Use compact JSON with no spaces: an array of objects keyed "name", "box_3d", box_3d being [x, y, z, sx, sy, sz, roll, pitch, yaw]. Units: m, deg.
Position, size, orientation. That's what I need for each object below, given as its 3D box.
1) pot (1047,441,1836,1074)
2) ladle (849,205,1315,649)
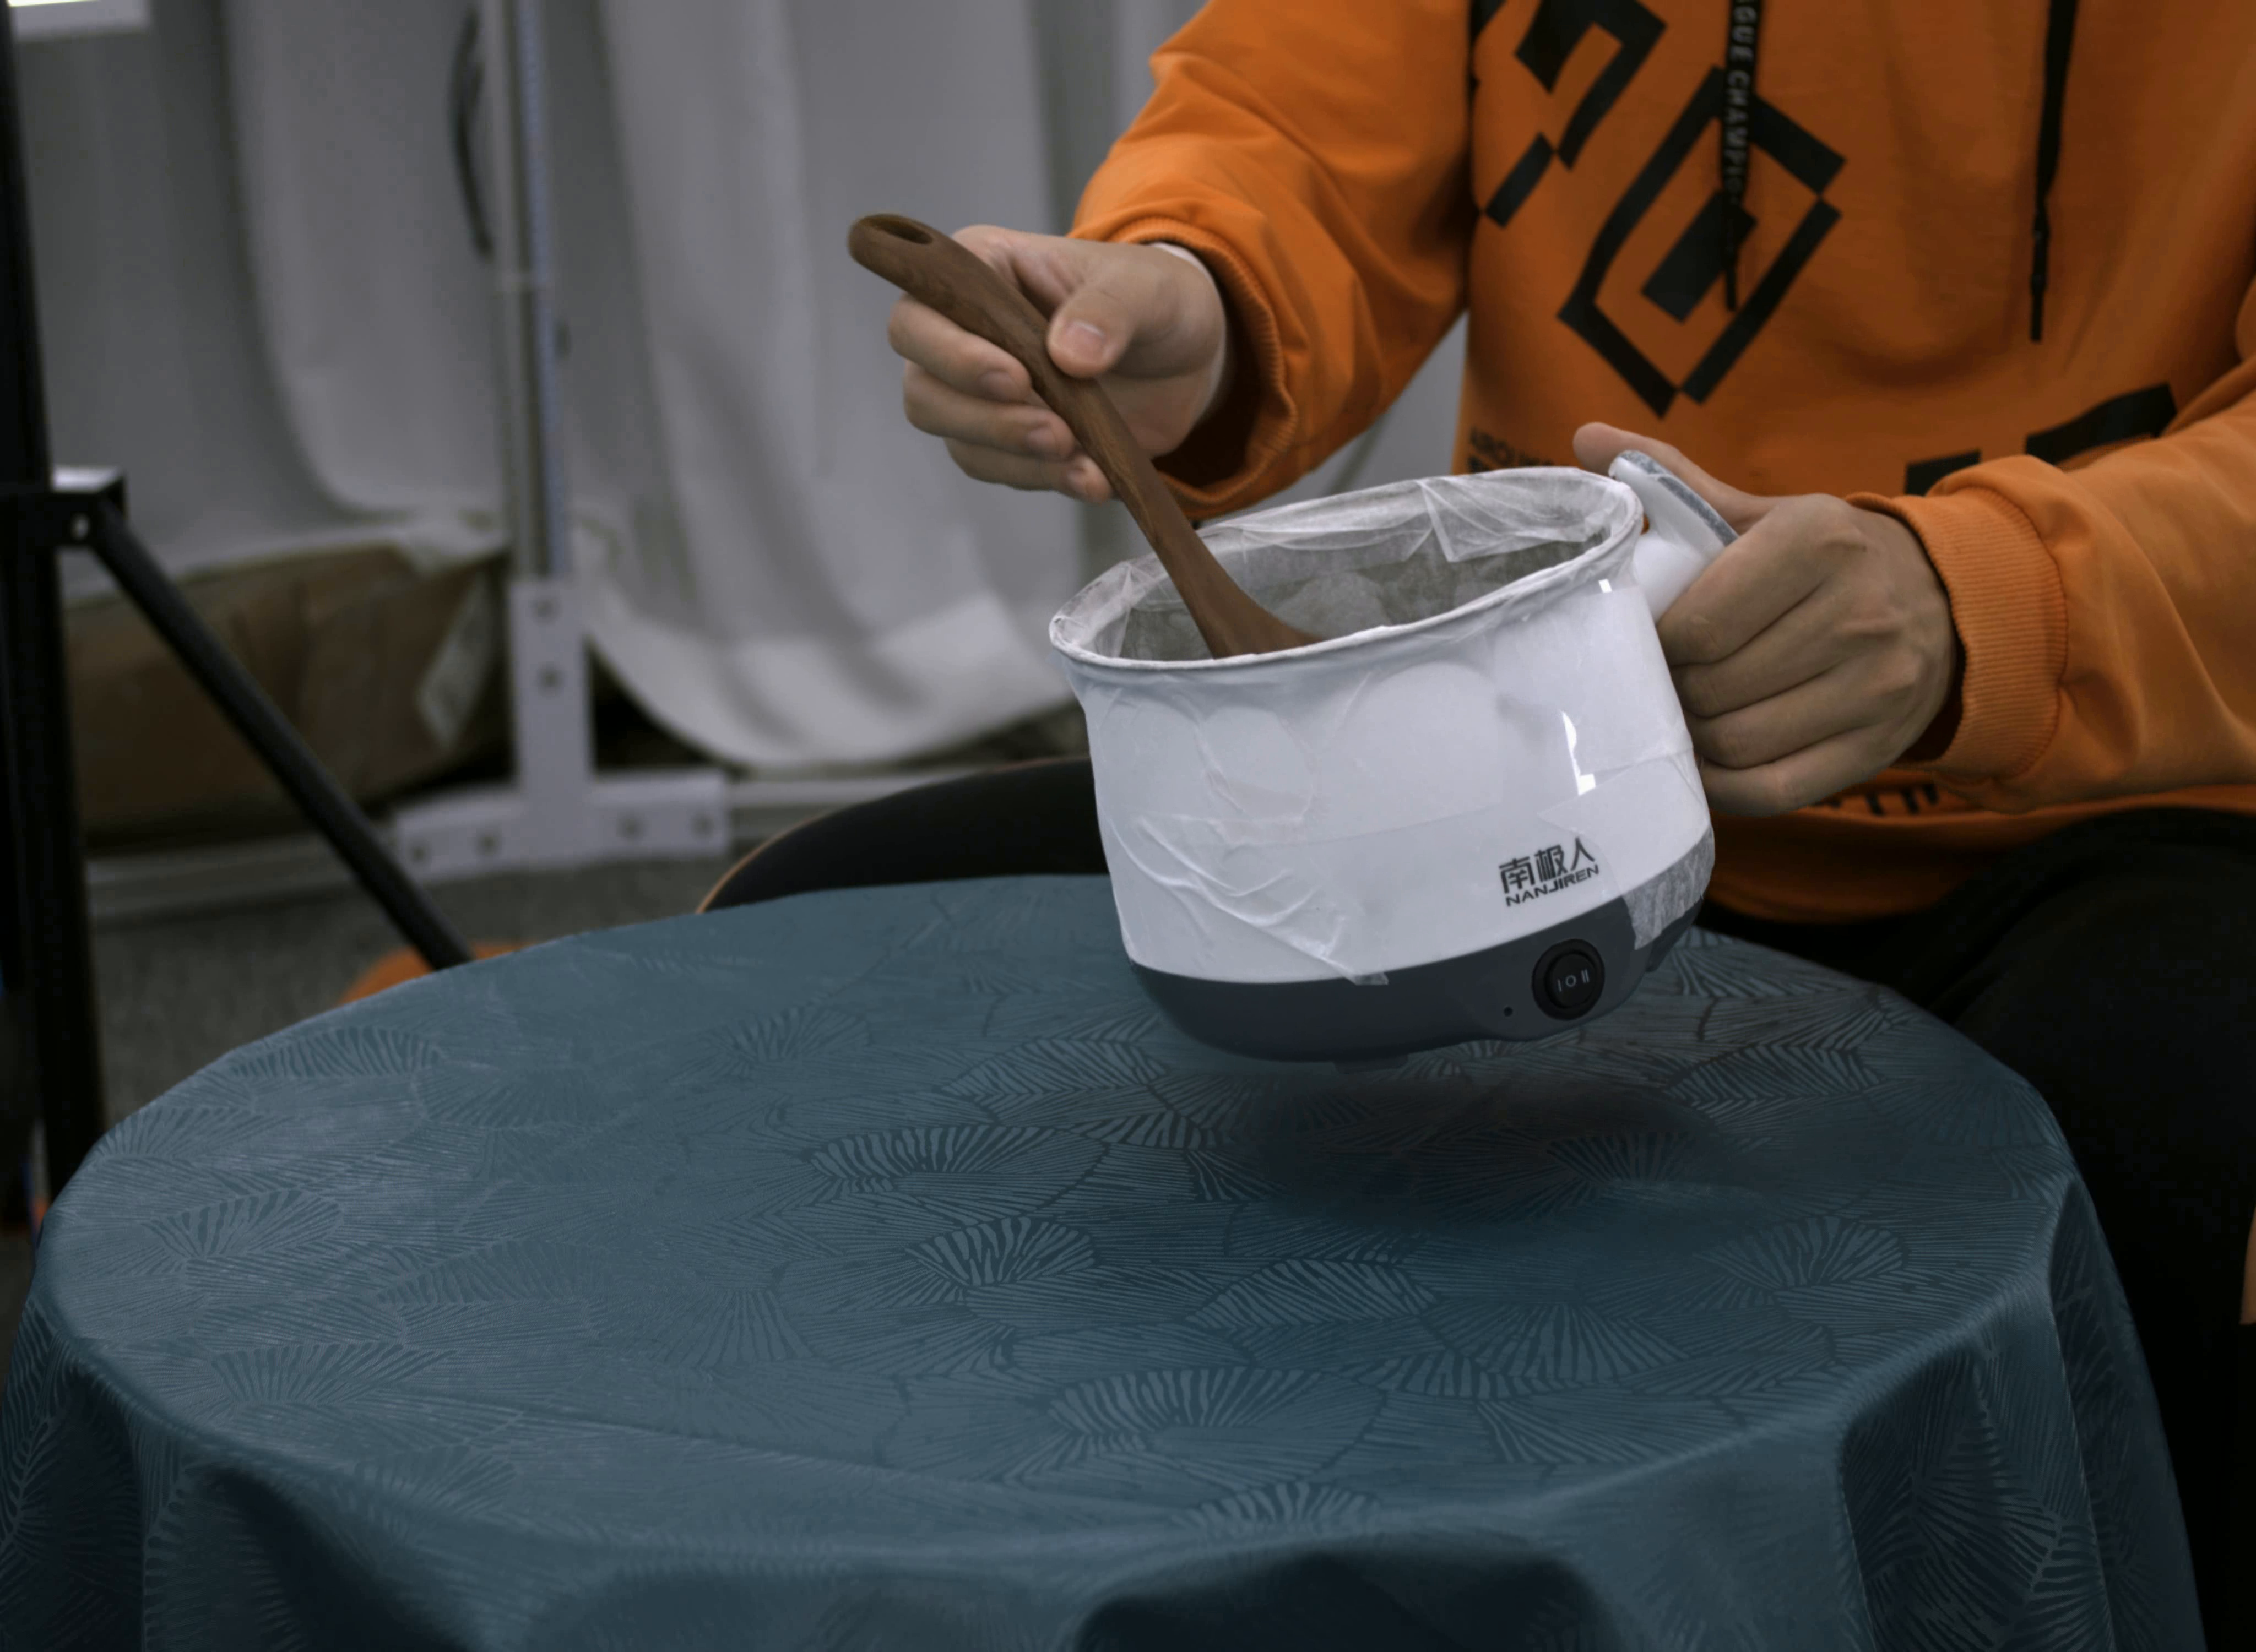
[{"name":"pot","box_3d":[0.100,-0.026,1.568,0.230,0.136,0.182,-21,18,-22]},{"name":"ladle","box_3d":[0.012,-0.105,1.576,0.075,0.065,0.263,-20,65,-48]}]
